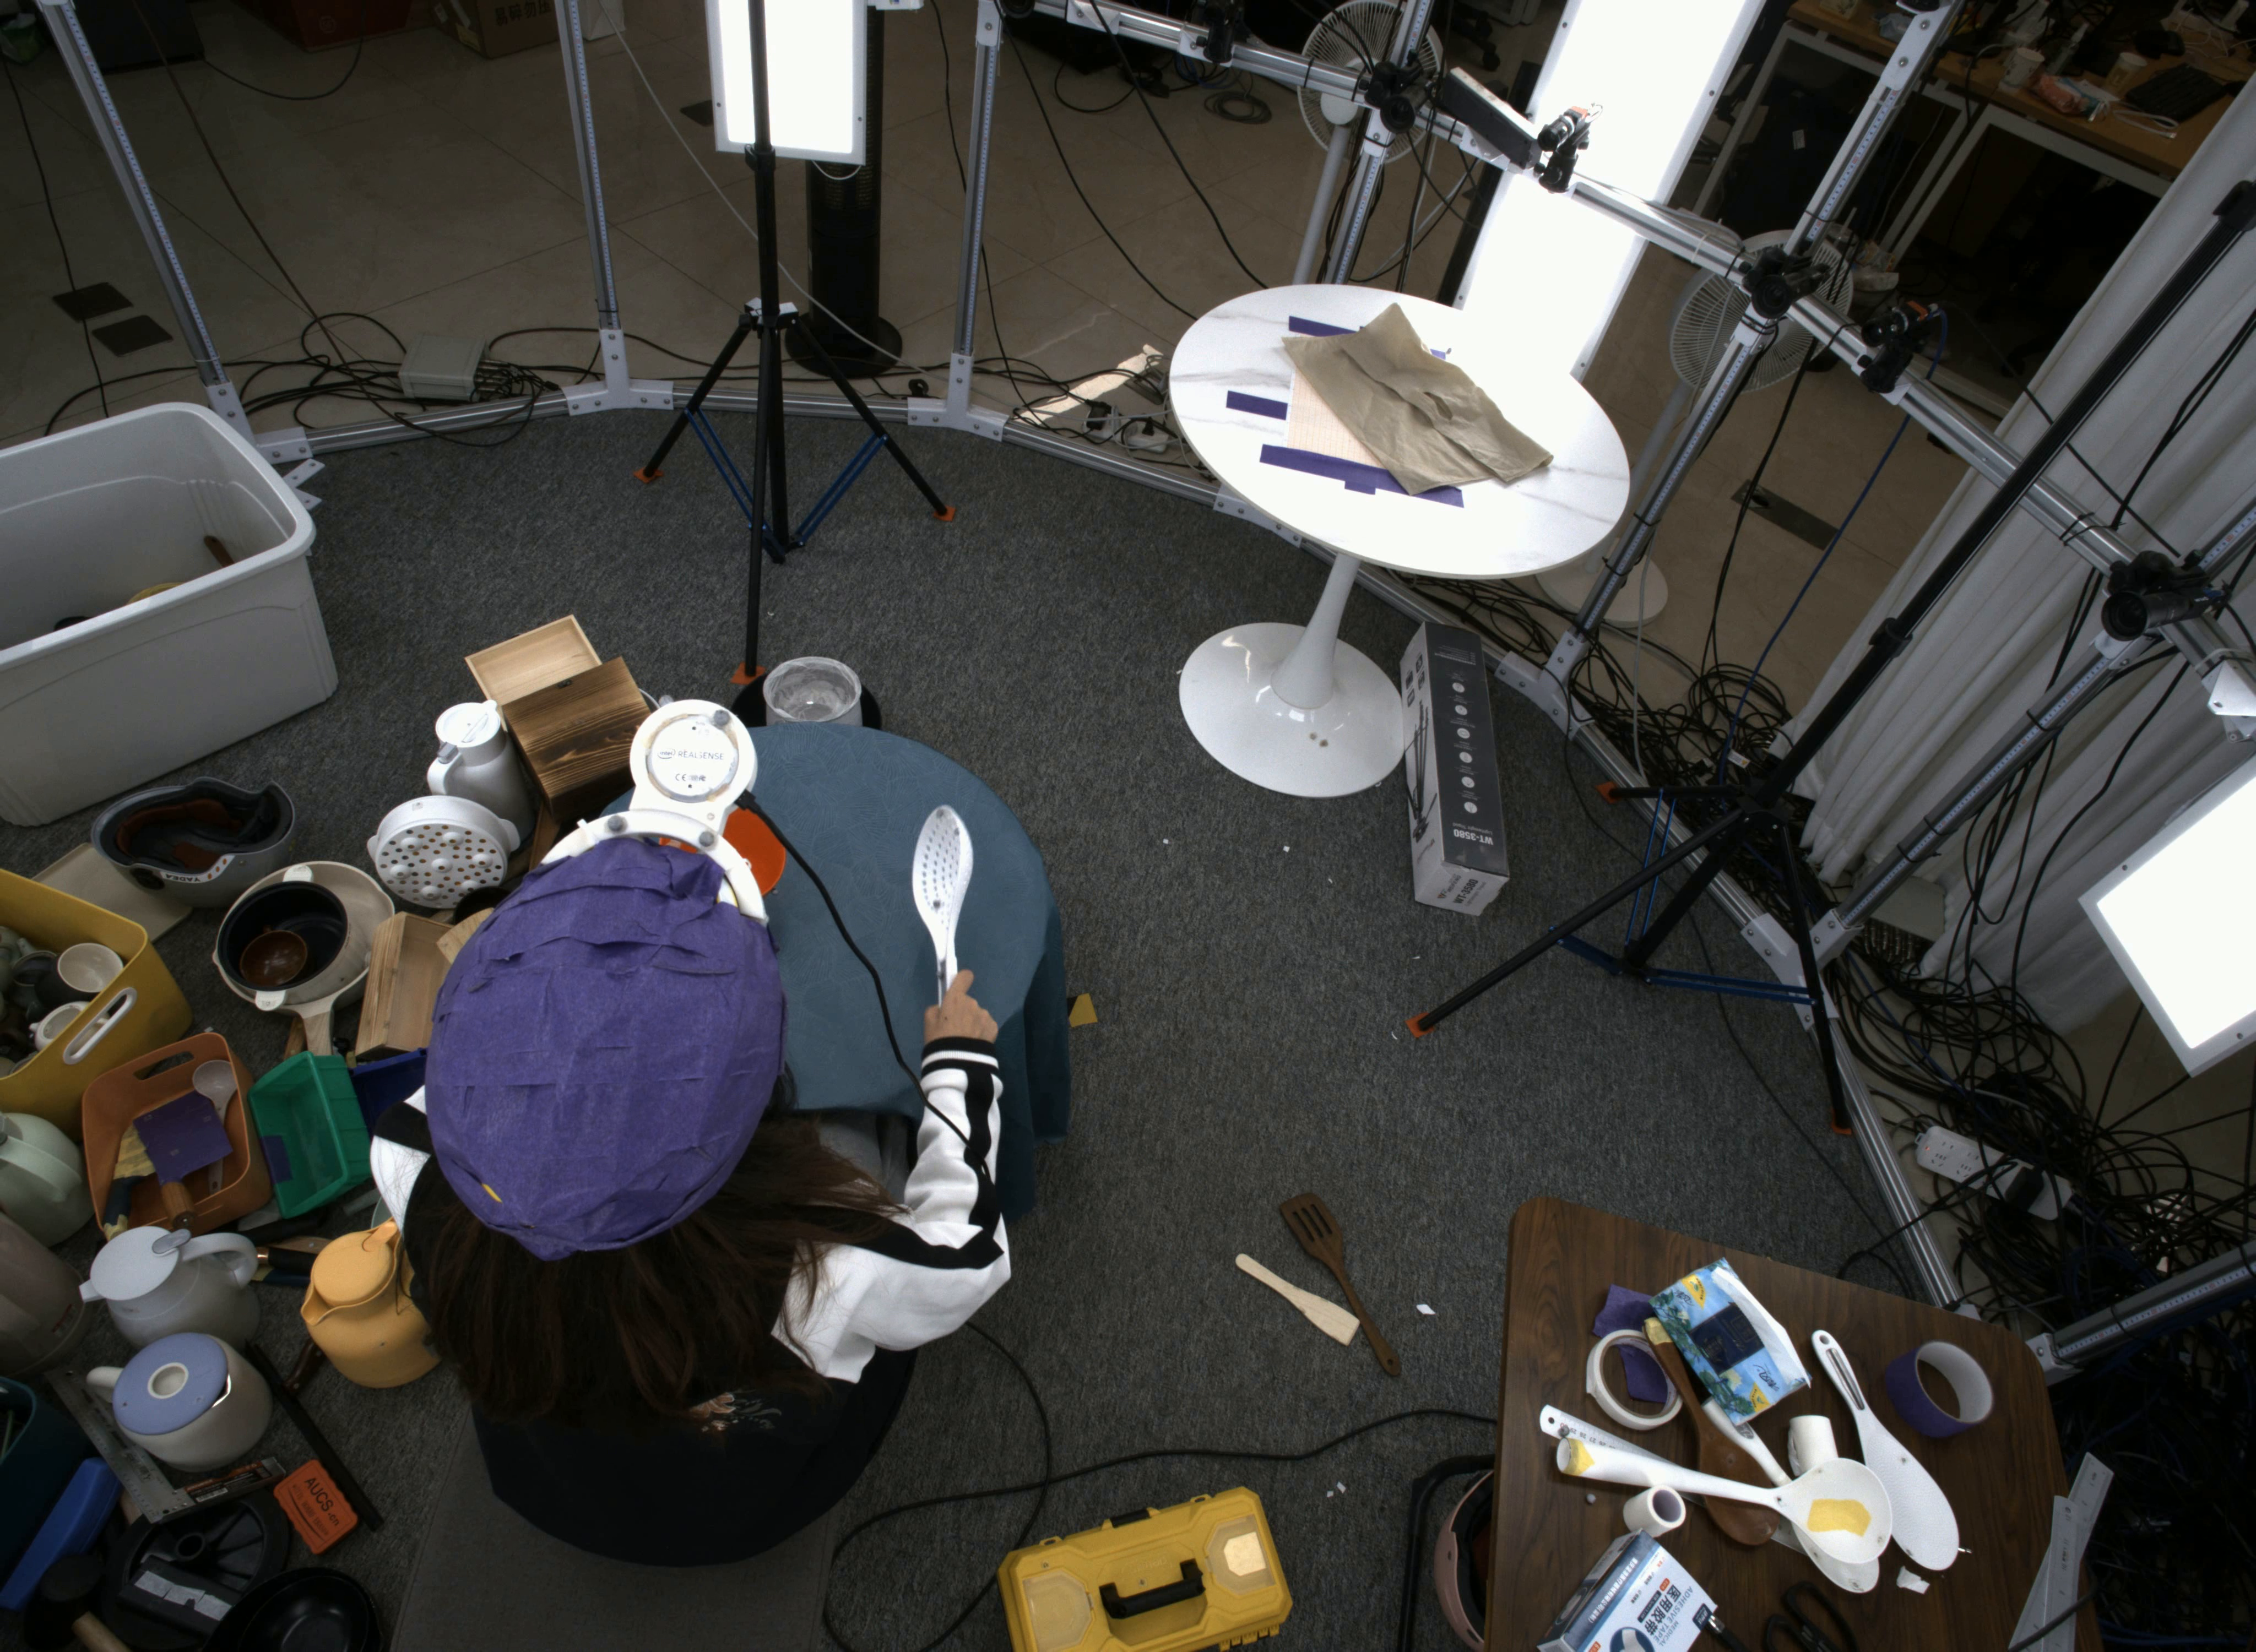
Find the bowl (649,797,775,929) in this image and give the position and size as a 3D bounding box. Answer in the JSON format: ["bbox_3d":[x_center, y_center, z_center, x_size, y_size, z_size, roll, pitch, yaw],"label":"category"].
[{"bbox_3d":[-0.504,0.054,1.551,0.149,0.106,0.145,16,46,-15],"label":"bowl"}]

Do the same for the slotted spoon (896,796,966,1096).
[{"bbox_3d":[-0.223,0.132,1.499,0.047,0.134,0.346,20,58,-38],"label":"slotted spoon"}]
